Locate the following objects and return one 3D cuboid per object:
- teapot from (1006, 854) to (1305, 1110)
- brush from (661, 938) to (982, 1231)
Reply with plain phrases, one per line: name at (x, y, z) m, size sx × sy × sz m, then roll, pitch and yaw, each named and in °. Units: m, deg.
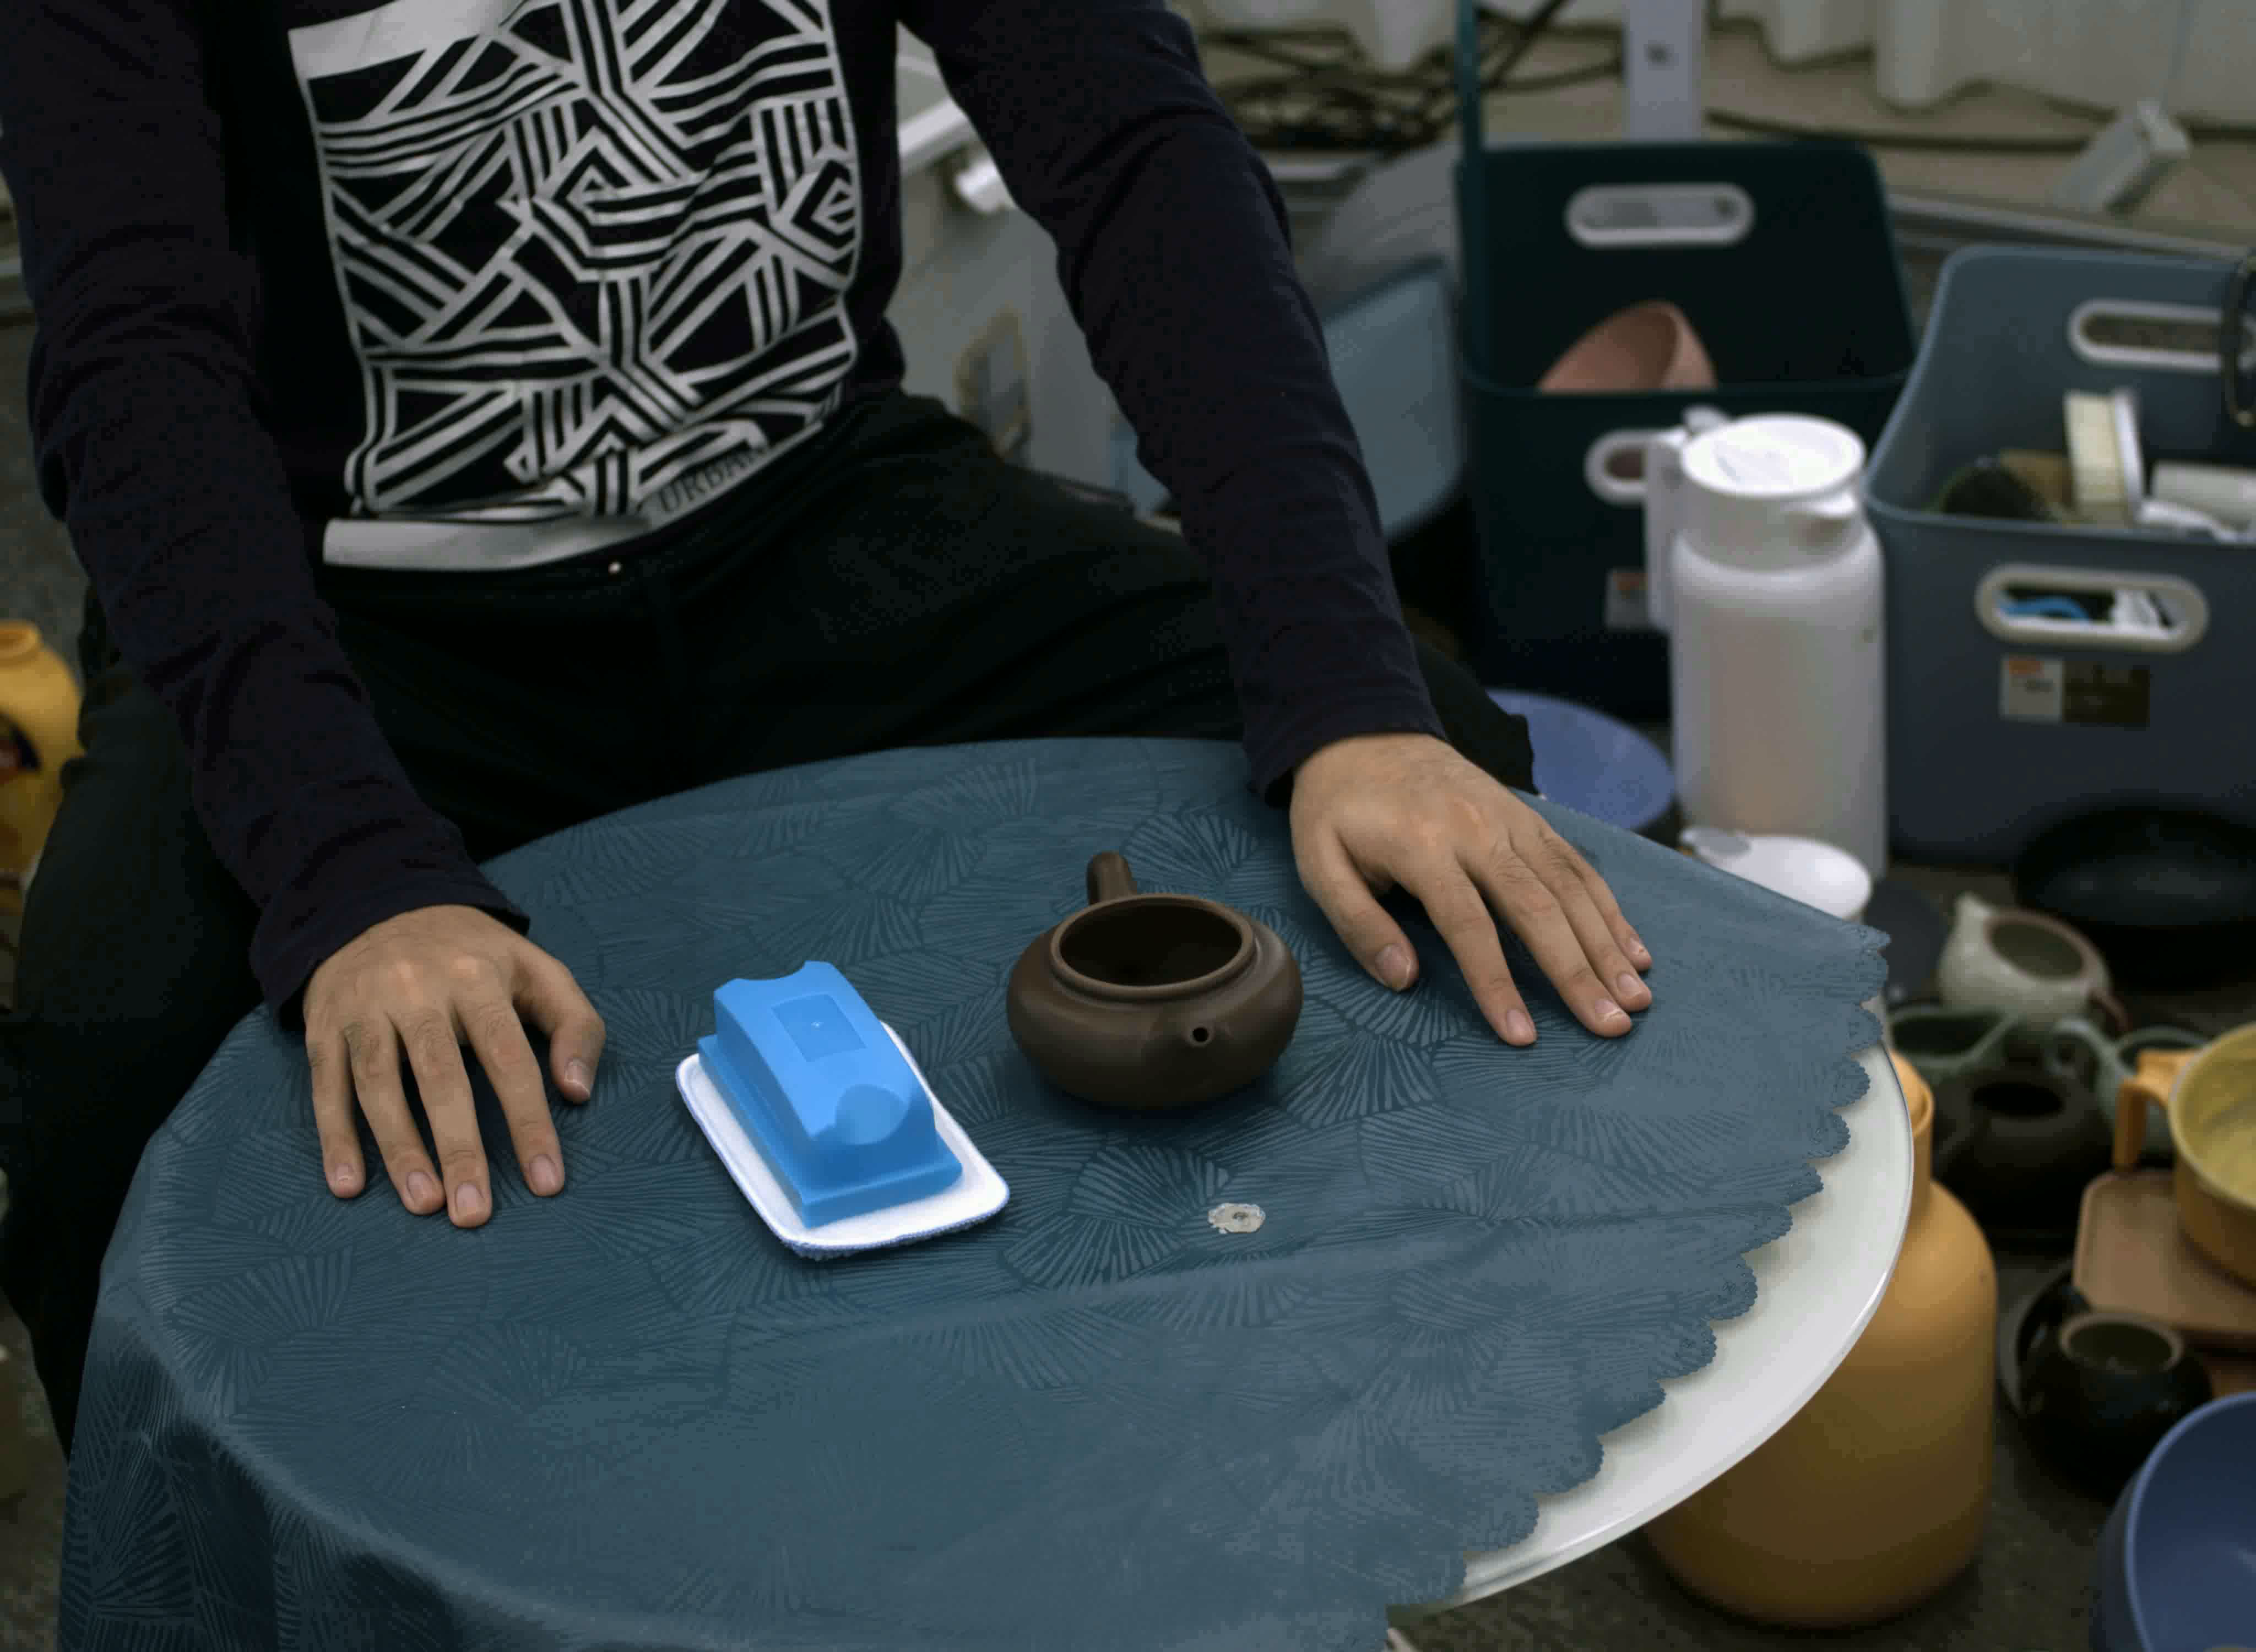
teapot at (0.008, 0.057, 1.927) m, size 0.103 × 0.053 × 0.155 m, roll -10°, pitch 28°, yaw -17°
brush at (-0.102, 0.082, 1.880) m, size 0.084 × 0.055 × 0.145 m, roll -8°, pitch 30°, yaw -17°
